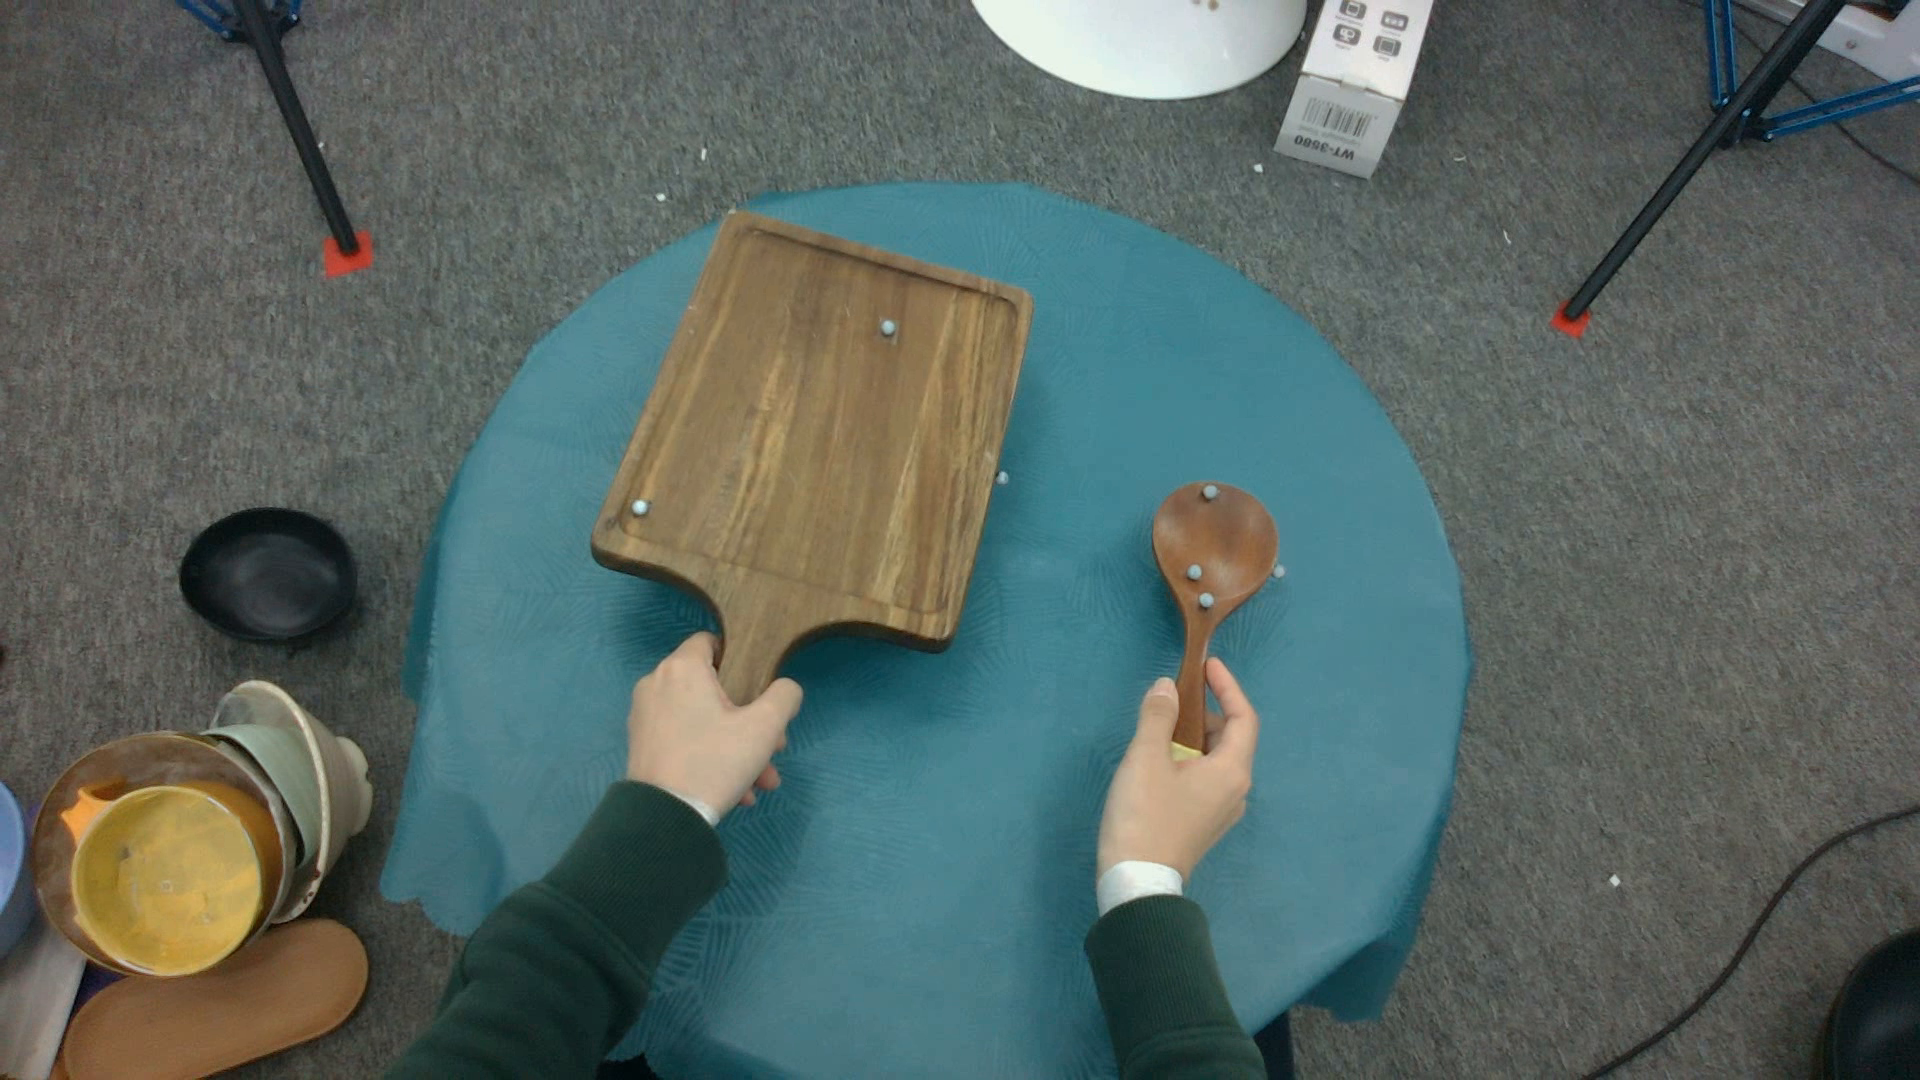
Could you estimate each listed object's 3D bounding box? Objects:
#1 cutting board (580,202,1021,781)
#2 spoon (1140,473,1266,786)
[{"bbox_3d":[-0.089,-0.034,0.753,0.201,0.023,0.354,16,58,-3],"label":"cutting board"},{"bbox_3d":[0.126,0.043,0.755,0.075,0.017,0.217,16,48,2],"label":"spoon"}]
